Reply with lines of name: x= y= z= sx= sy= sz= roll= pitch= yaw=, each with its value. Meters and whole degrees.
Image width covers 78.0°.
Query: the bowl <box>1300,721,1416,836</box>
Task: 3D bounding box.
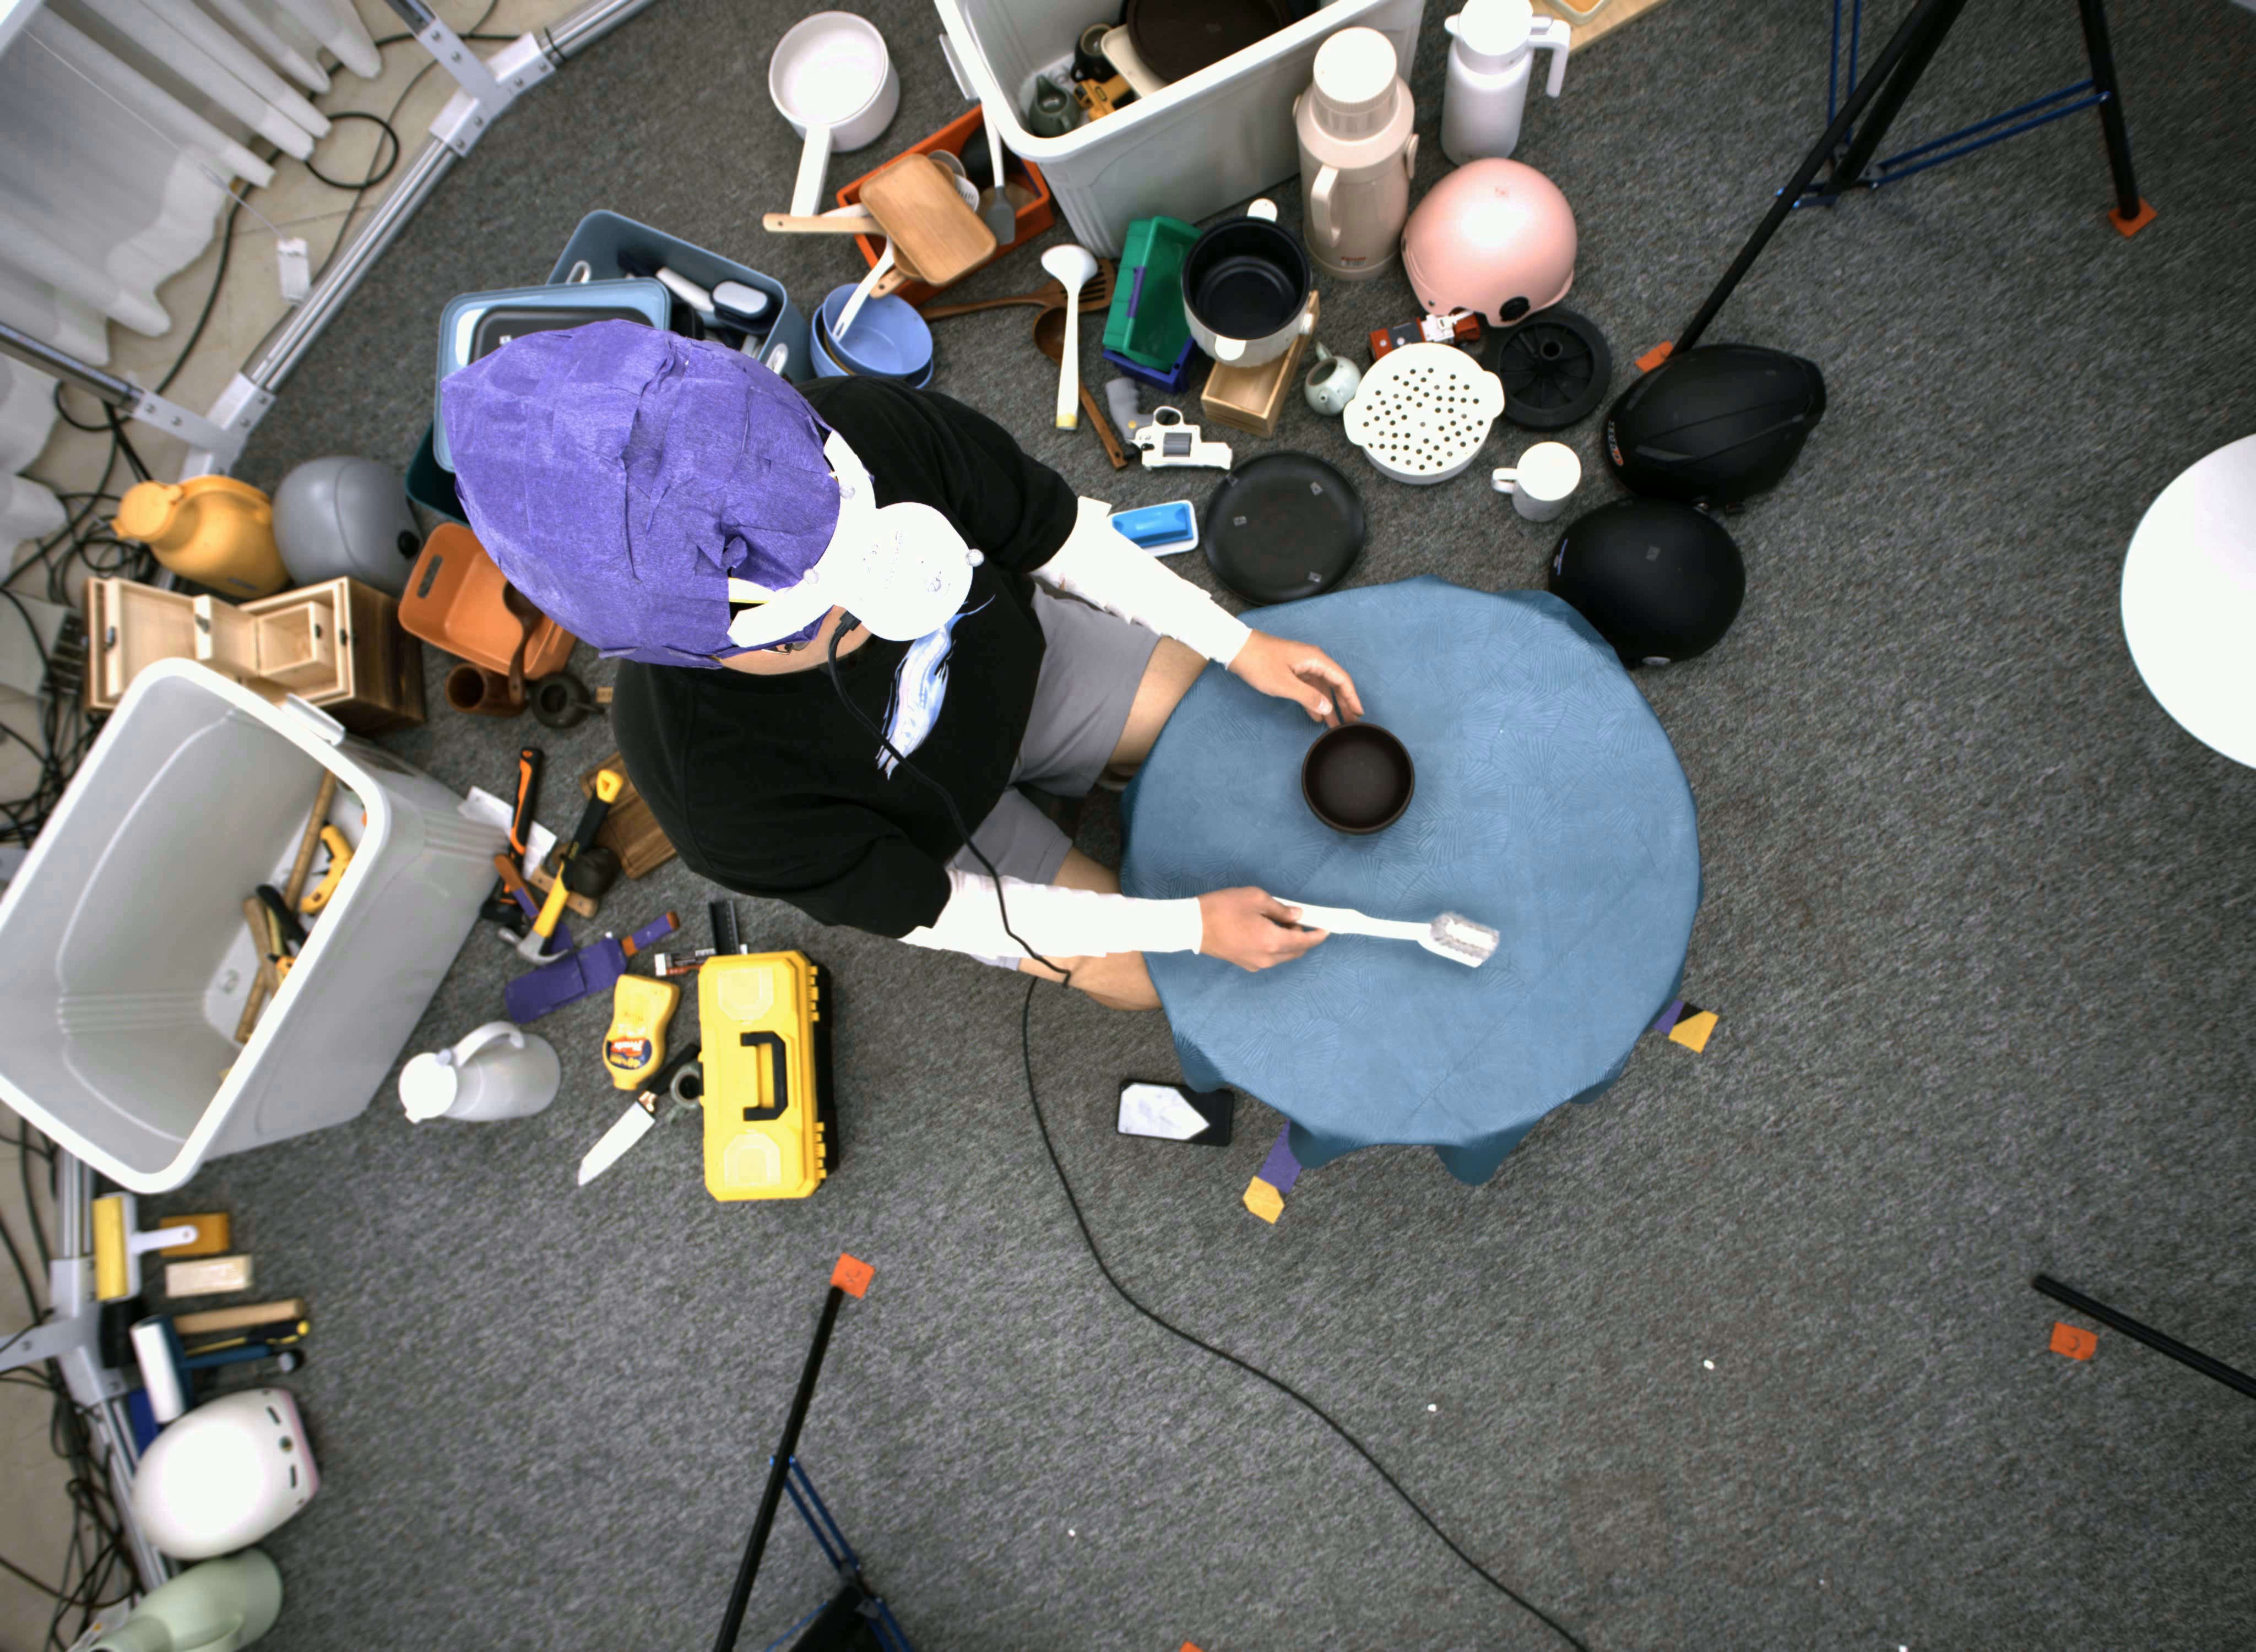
bowl: x=0.240 y=-0.048 z=1.433 sx=0.118 sy=0.070 sz=0.117 roll=-1 pitch=87 yaw=12

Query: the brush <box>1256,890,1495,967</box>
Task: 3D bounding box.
brush: x=0.250 y=0.092 z=1.405 sx=0.244 sy=0.051 sz=0.033 roll=14 pitch=60 yaw=9
